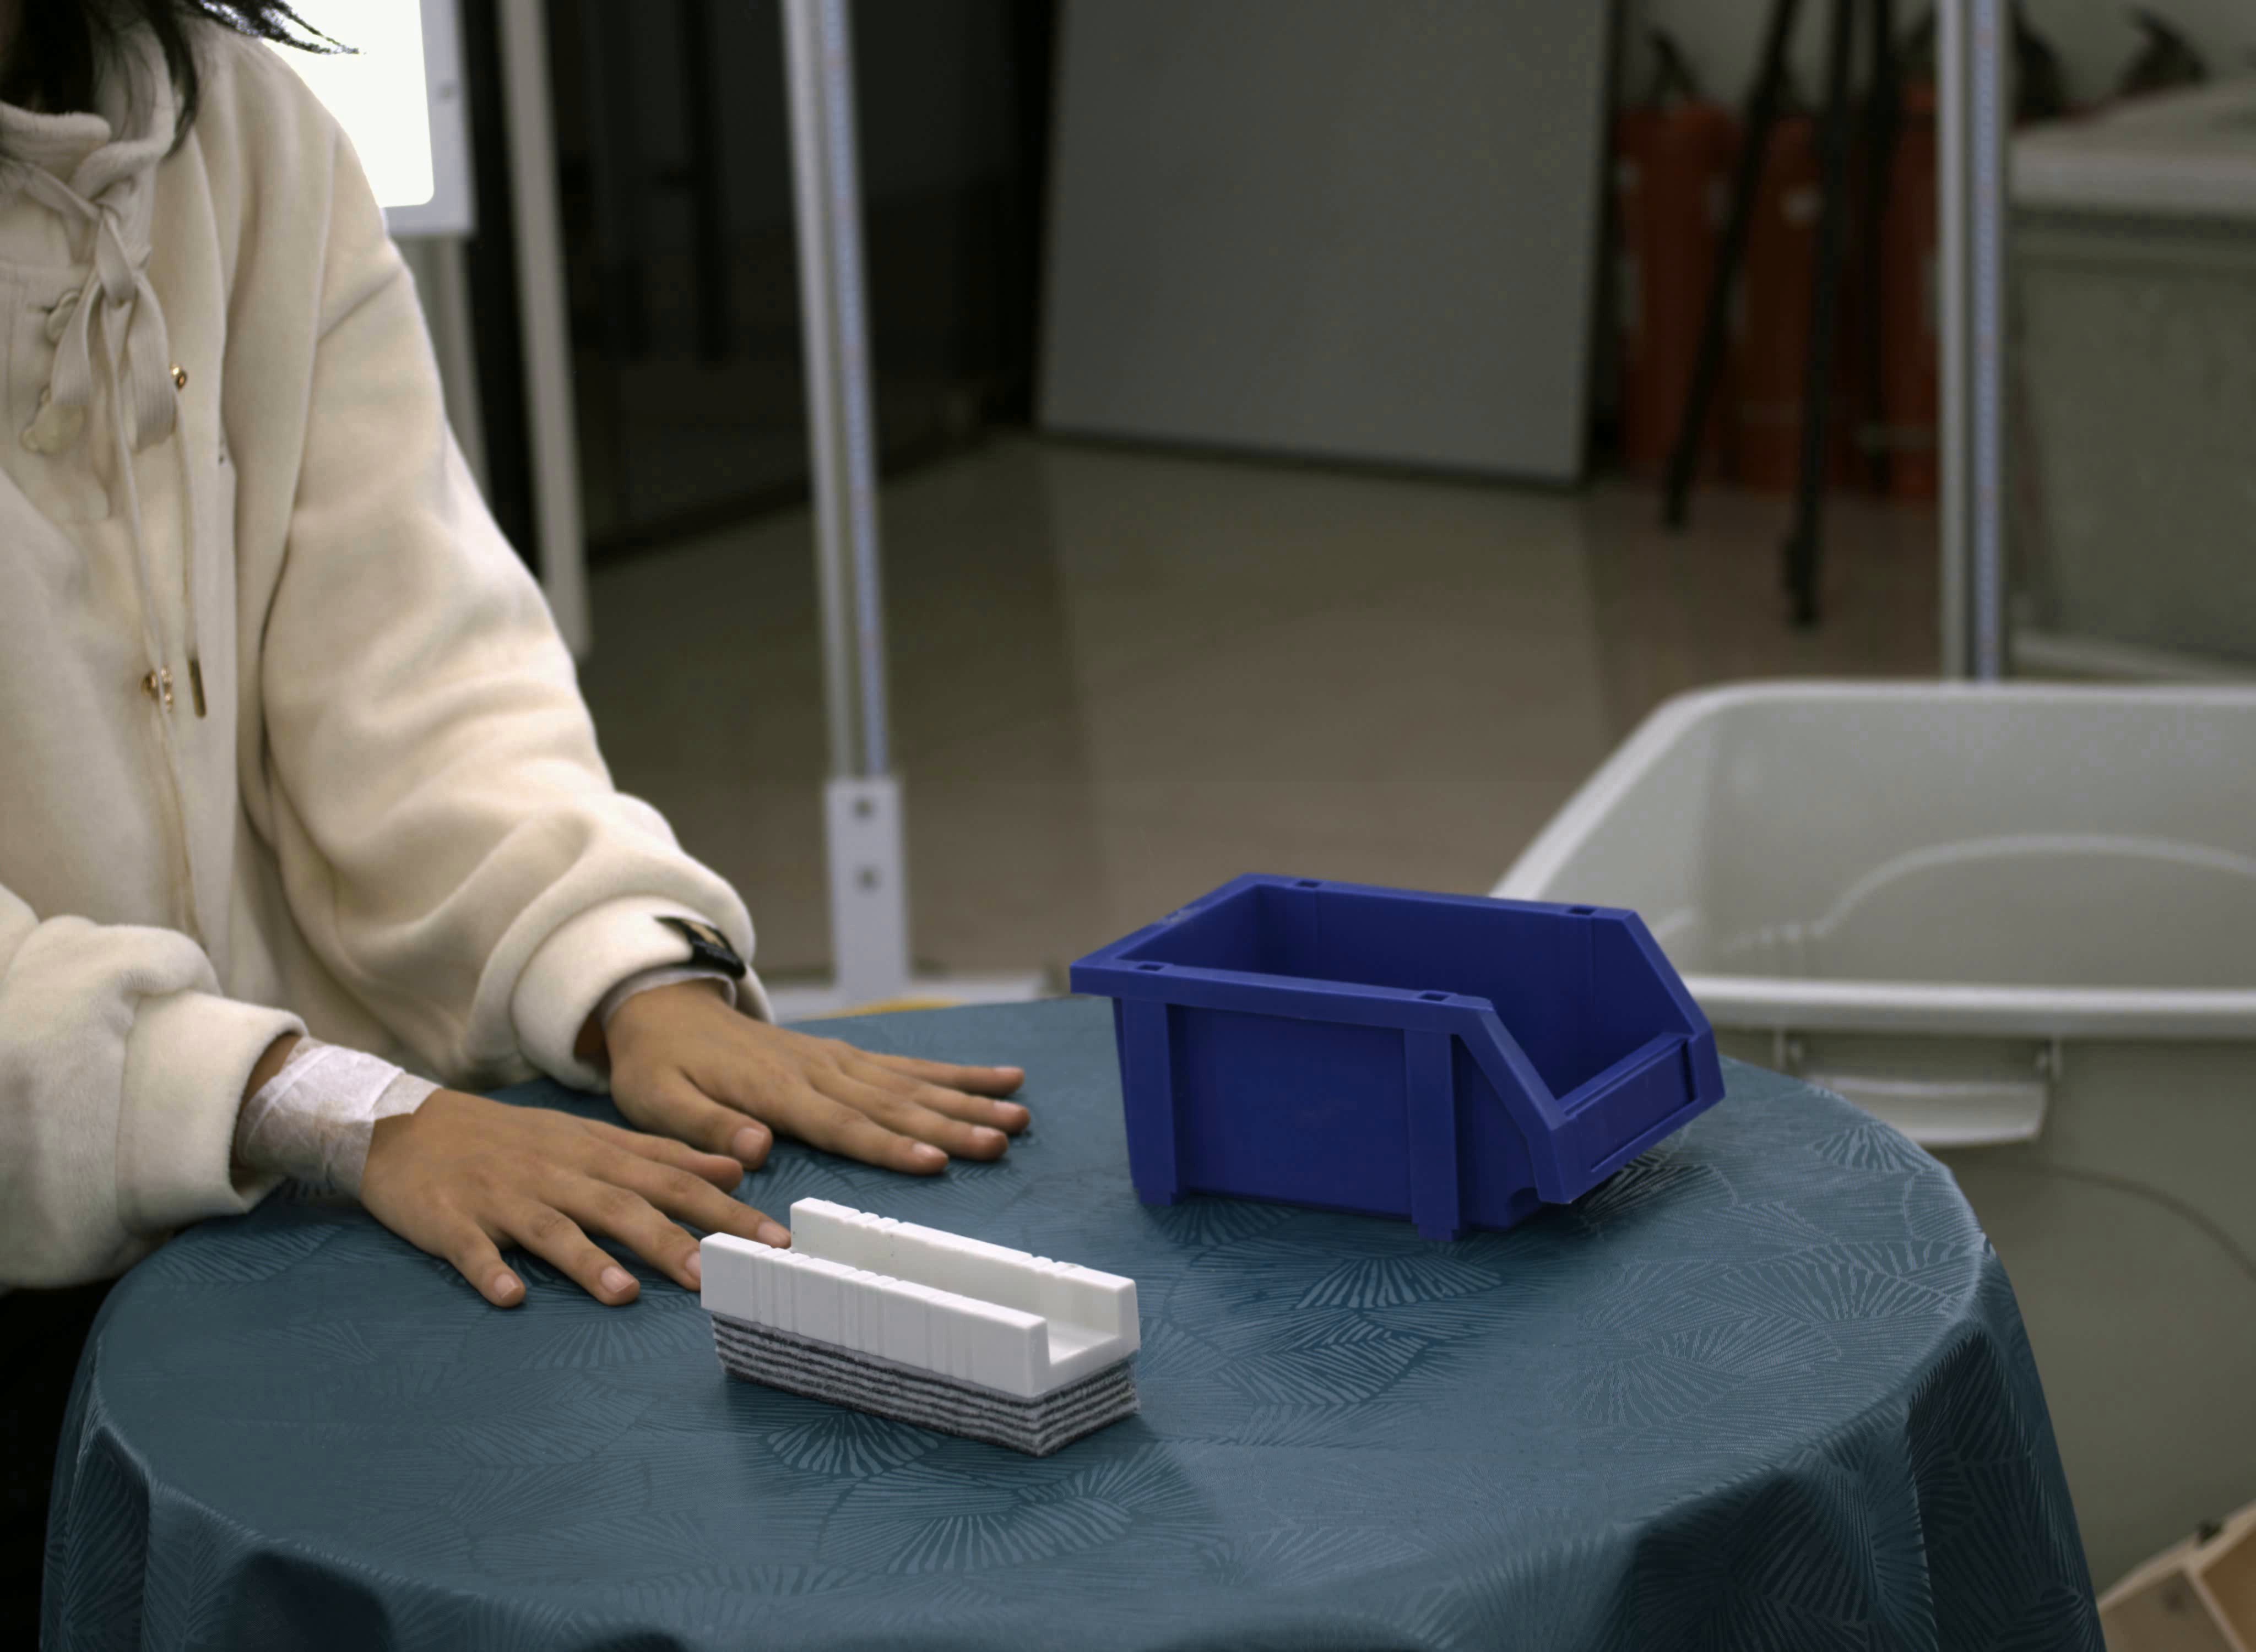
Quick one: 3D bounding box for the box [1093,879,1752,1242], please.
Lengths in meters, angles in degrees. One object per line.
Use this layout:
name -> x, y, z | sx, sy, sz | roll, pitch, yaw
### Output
box -> 0.098, 0.075, 1.756 | 0.180, 0.083, 0.122 | 3, 15, 34

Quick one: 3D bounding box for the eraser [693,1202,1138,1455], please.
eraser -> -0.063, 0.147, 1.585 | 0.135, 0.047, 0.049 | 9, 21, 39
